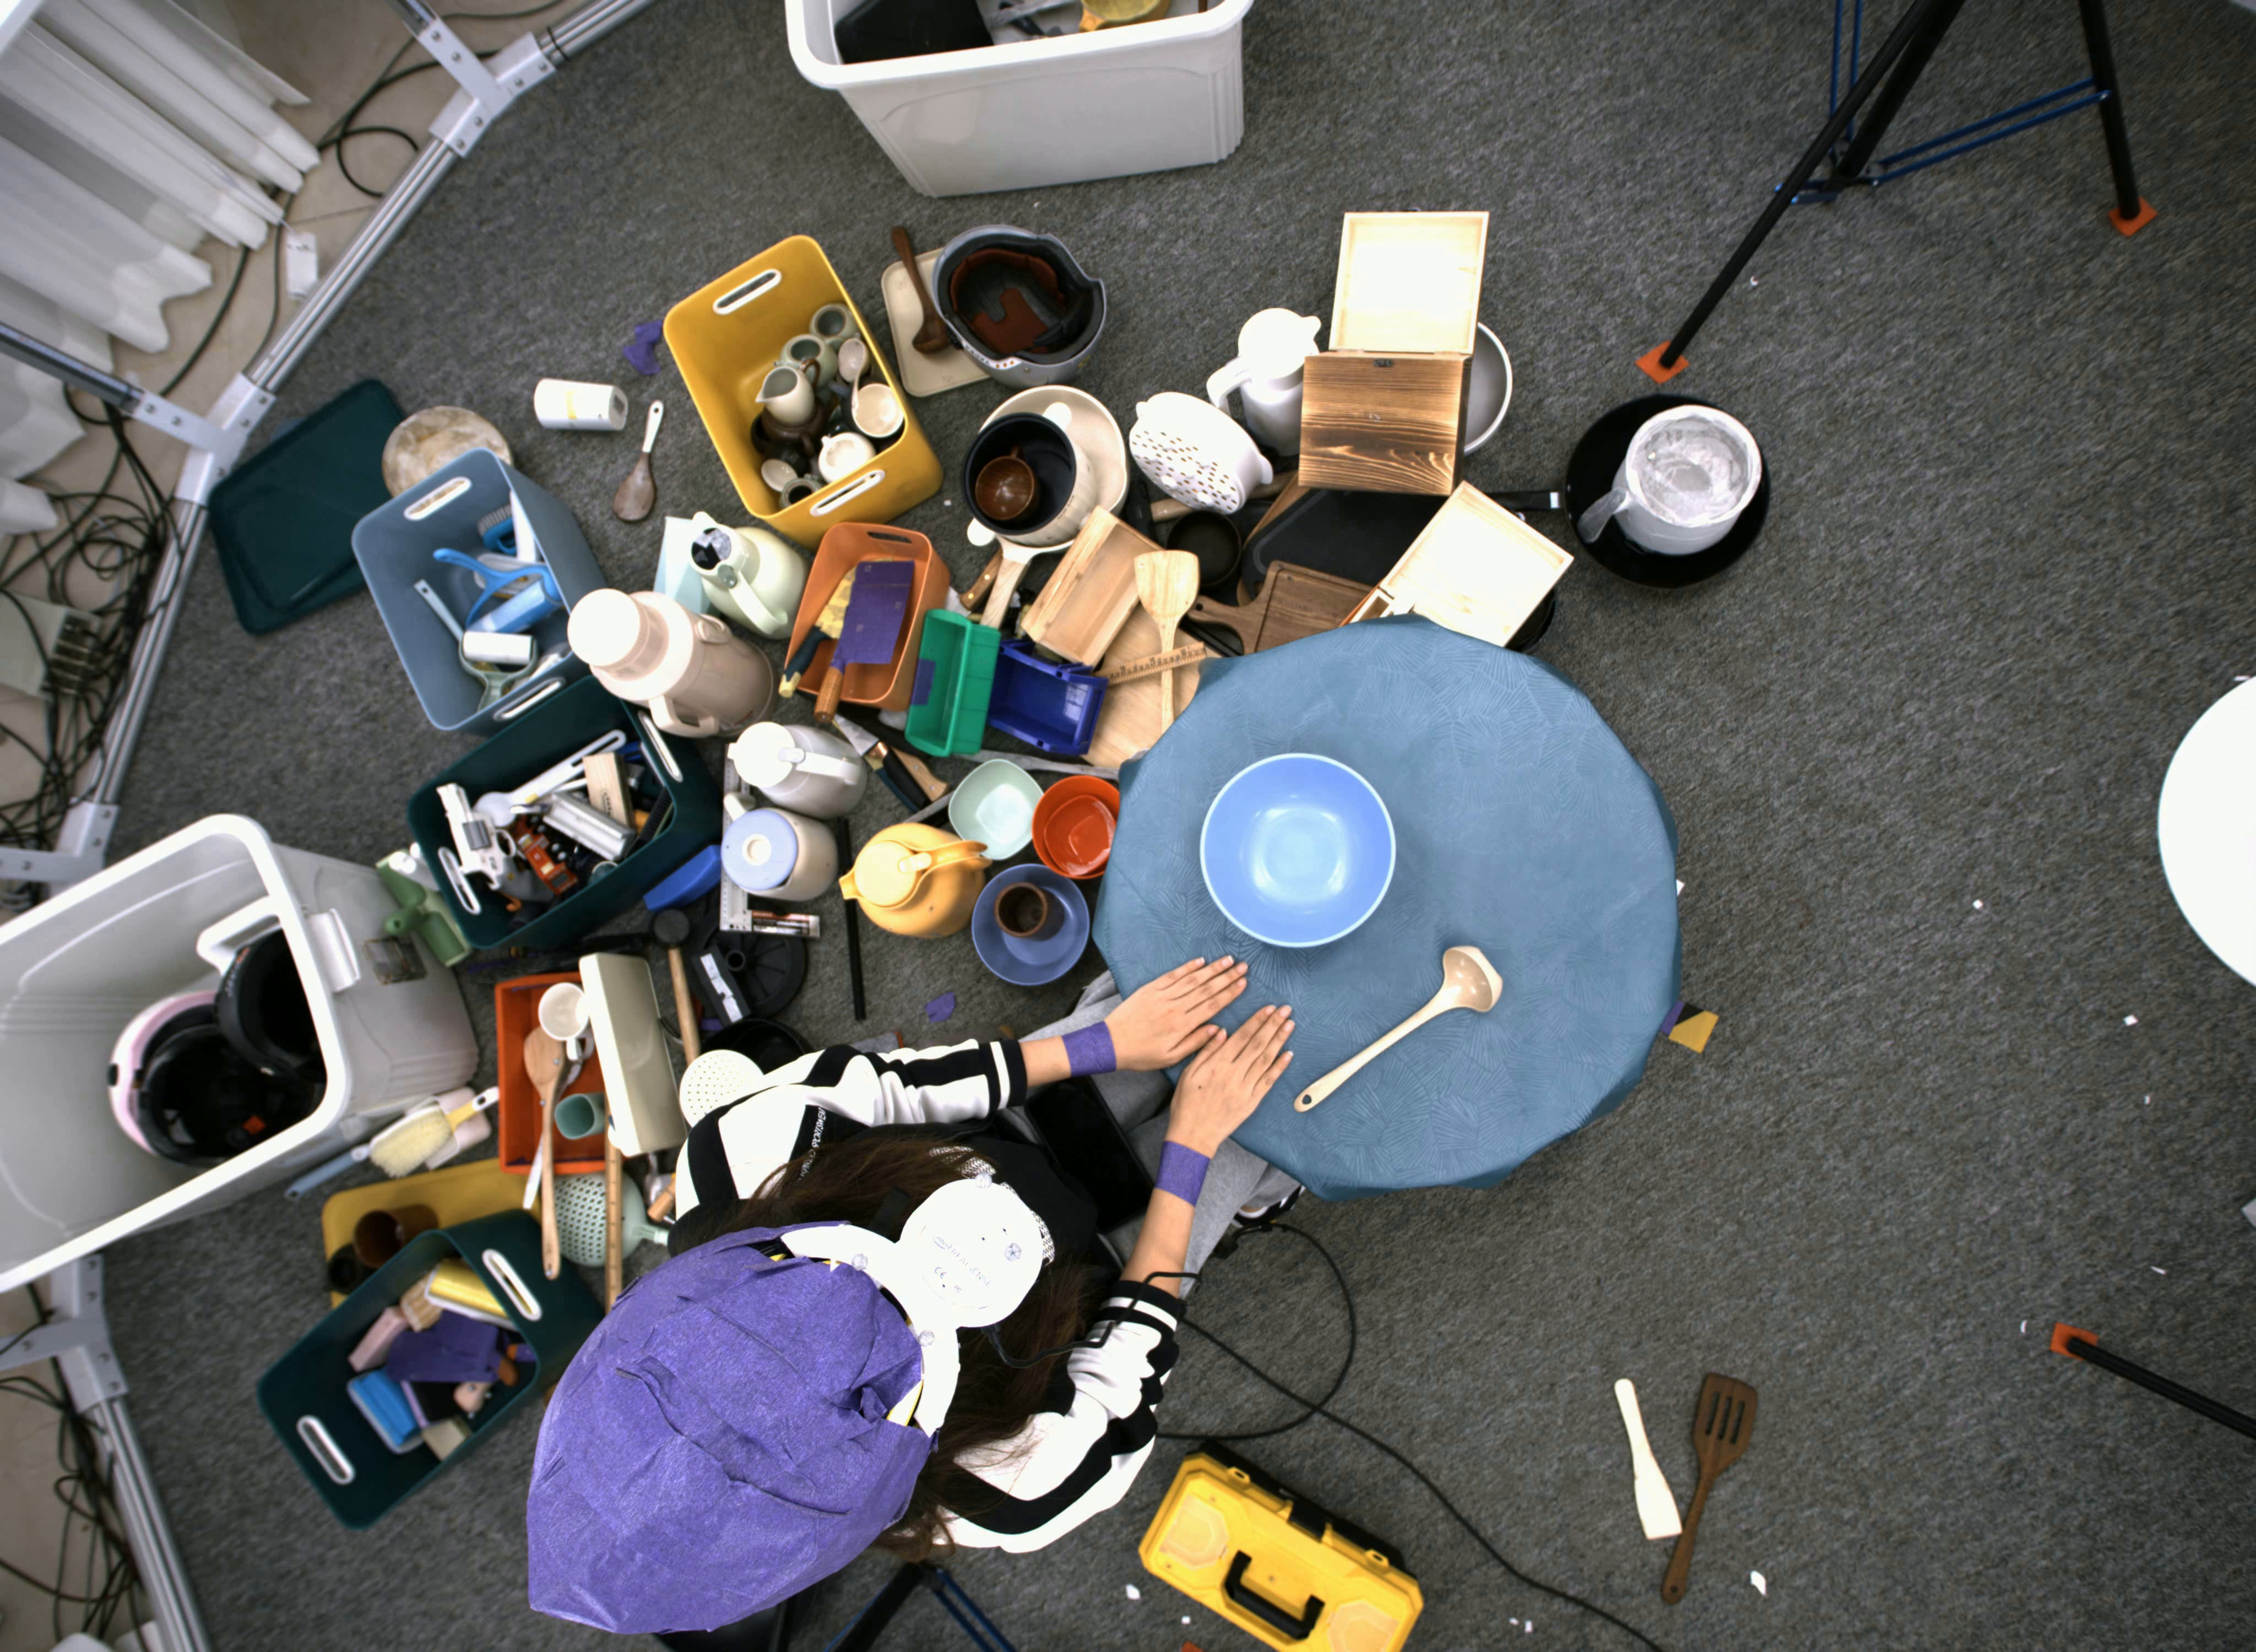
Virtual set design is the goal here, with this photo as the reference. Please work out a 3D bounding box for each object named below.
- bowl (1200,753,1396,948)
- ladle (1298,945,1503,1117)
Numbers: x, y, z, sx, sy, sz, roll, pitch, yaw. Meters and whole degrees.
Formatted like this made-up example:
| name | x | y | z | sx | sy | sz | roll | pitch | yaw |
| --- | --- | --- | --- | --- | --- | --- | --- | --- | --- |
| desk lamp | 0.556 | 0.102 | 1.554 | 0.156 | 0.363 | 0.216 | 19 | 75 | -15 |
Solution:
| name | x | y | z | sx | sy | sz | roll | pitch | yaw |
| --- | --- | --- | --- | --- | --- | --- | --- | --- | --- |
| bowl | 0.176 | 0.027 | 1.434 | 0.197 | 0.095 | 0.196 | -1 | 87 | 8 |
| ladle | 0.271 | 0.215 | 1.415 | 0.256 | 0.073 | 0.071 | -39 | 72 | 6 |
